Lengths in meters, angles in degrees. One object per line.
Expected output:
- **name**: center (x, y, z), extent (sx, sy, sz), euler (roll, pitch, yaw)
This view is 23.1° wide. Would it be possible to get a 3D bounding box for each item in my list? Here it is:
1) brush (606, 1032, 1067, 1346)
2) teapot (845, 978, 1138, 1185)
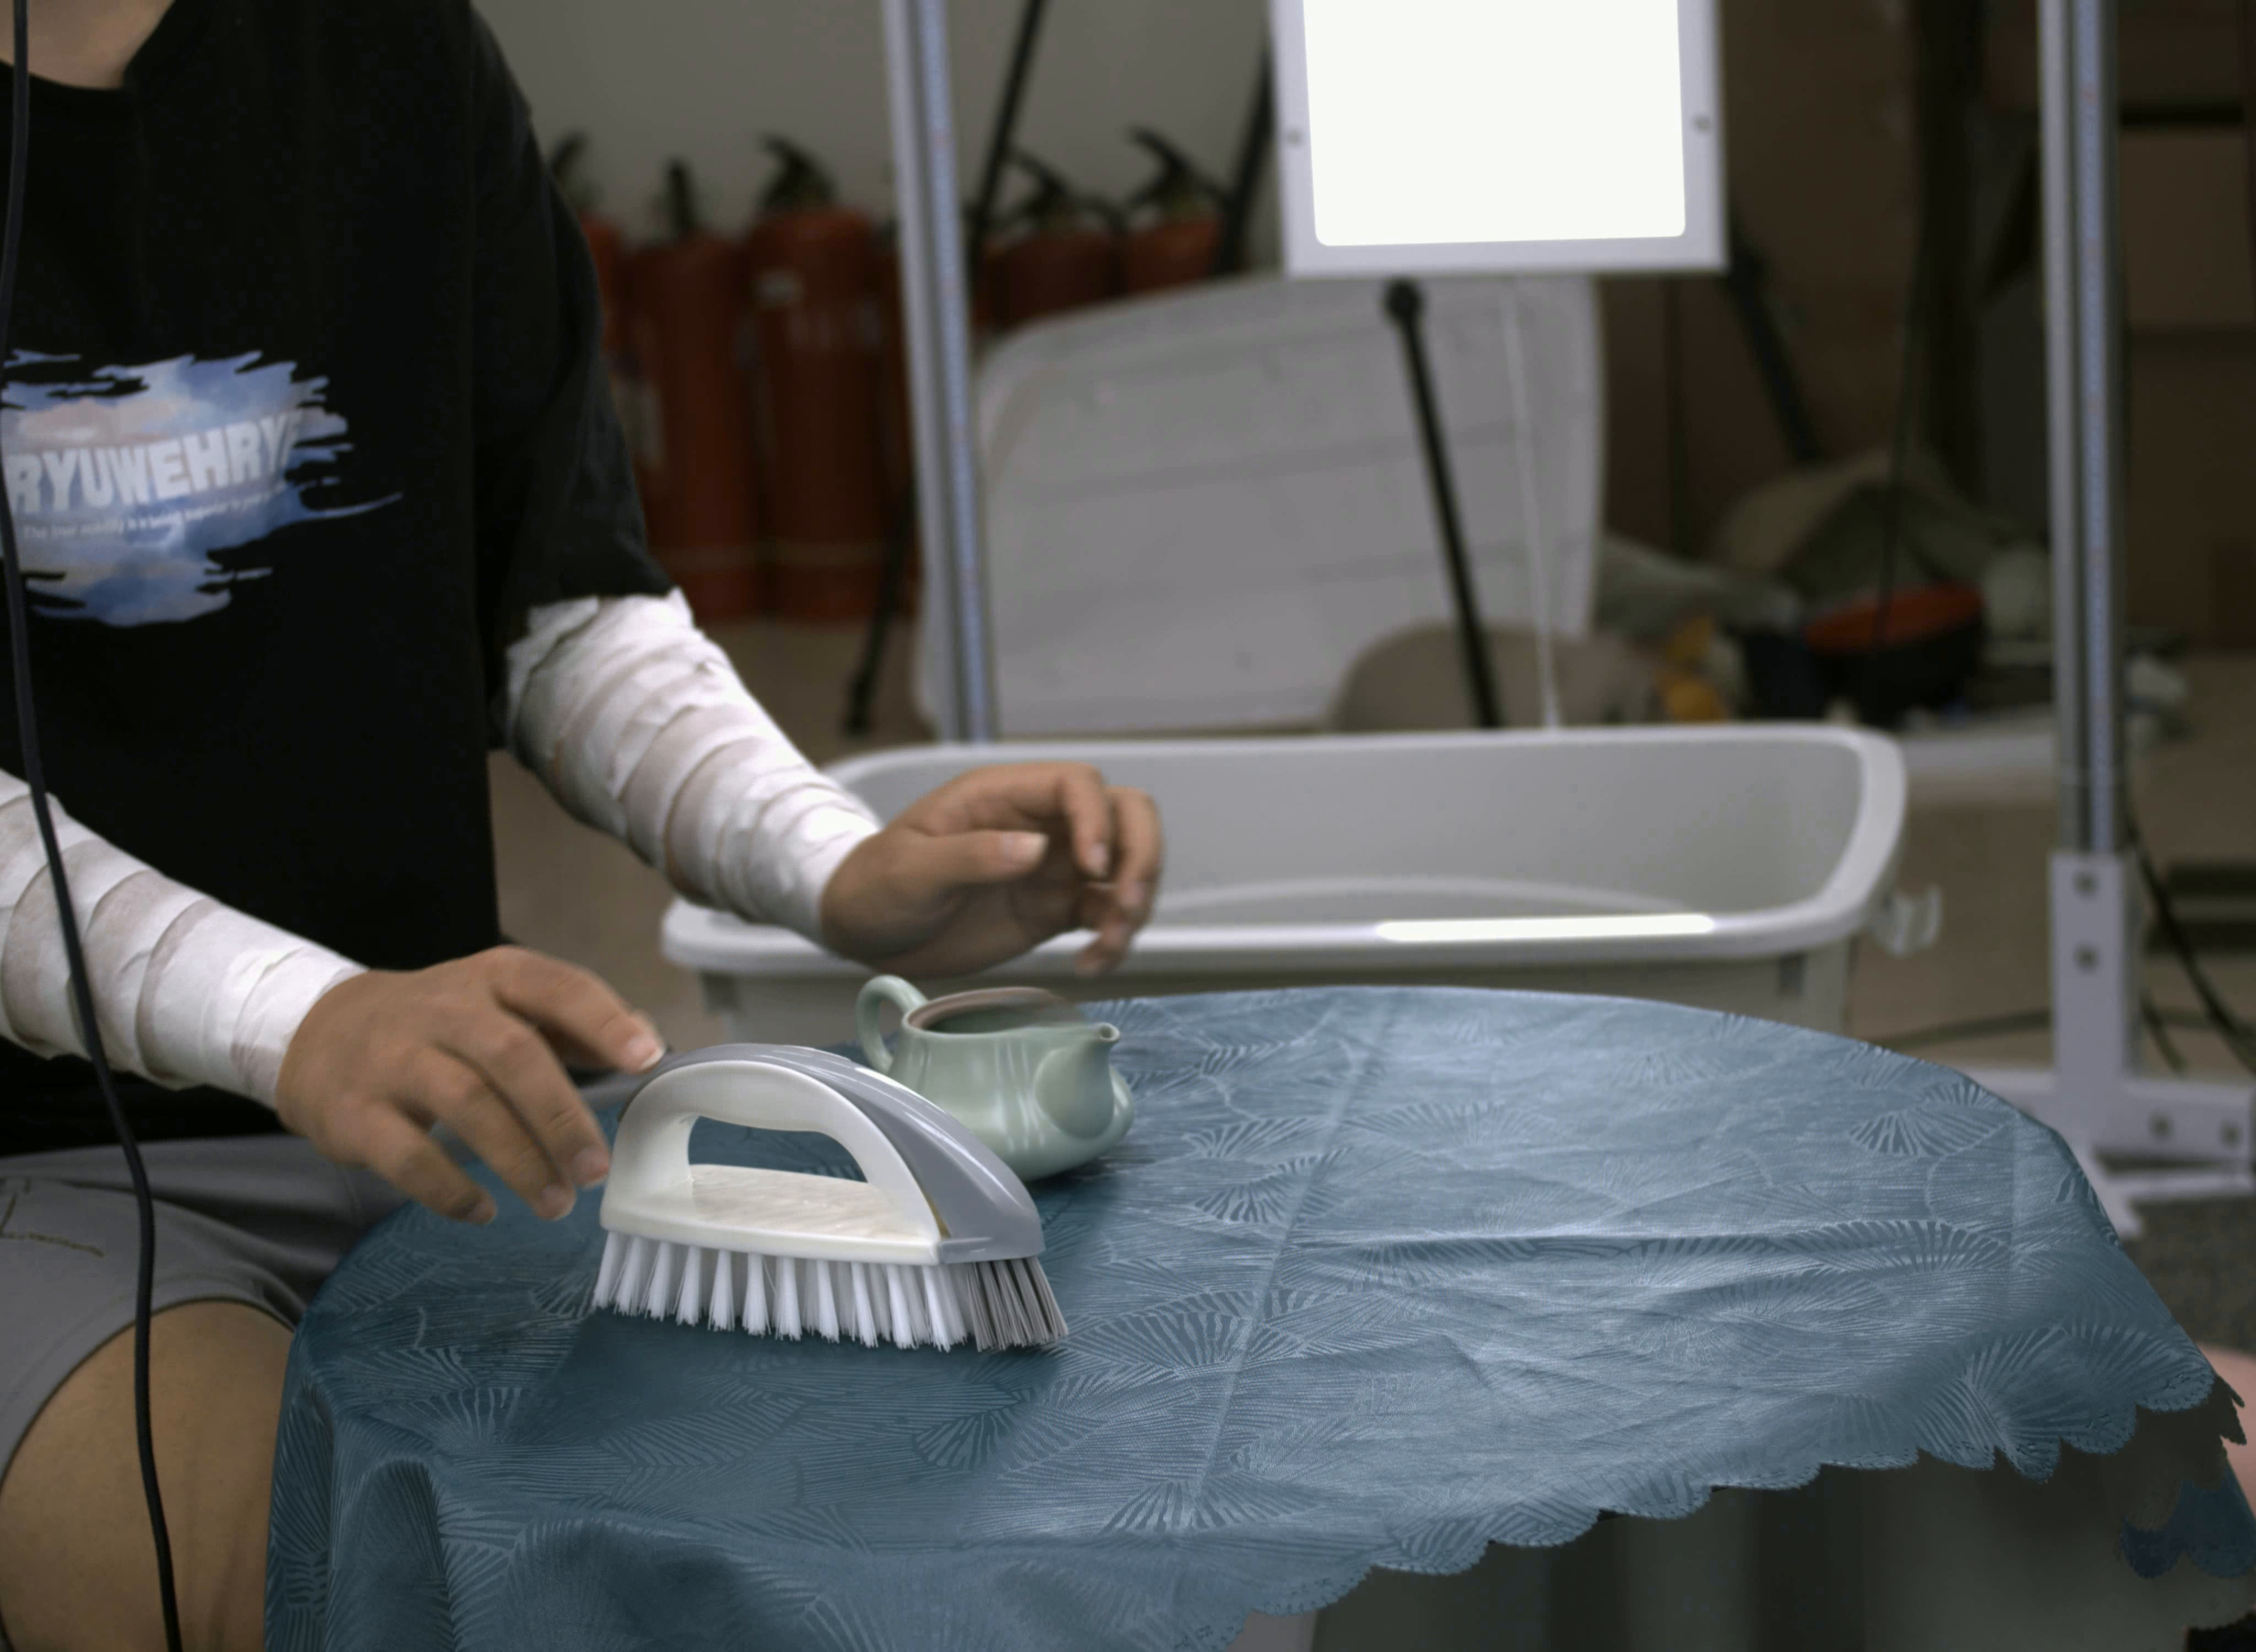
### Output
- **brush**: center (-0.095, 0.115, 1.787), extent (0.179, 0.094, 0.060), euler (7, 21, 37)
- **teapot**: center (-0.049, 0.089, 1.940), extent (0.094, 0.061, 0.140), euler (-21, 20, -41)
